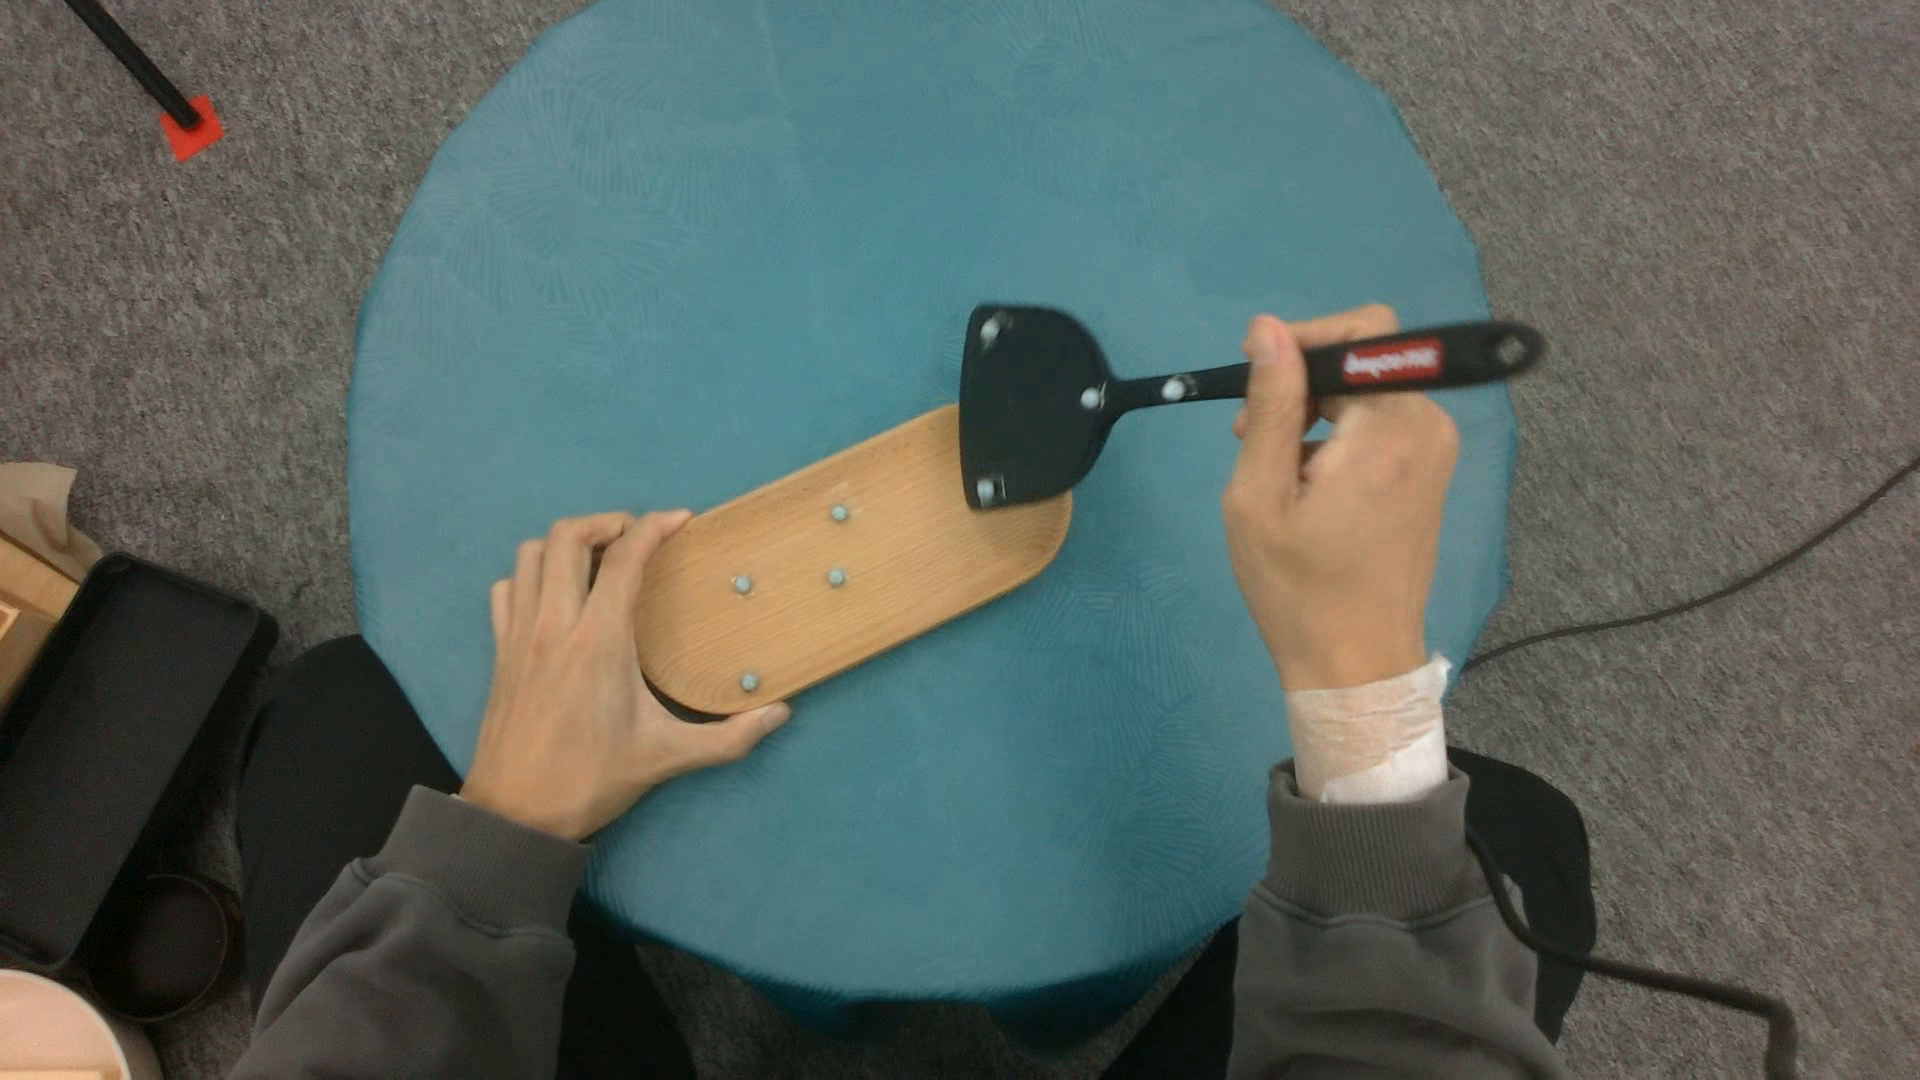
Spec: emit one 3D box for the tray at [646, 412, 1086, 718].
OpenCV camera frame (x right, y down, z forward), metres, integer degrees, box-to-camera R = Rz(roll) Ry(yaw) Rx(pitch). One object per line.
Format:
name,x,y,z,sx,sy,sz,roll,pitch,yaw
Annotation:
tray,-0.045,0.011,0.694,0.231,0.020,0.102,-25,75,-10

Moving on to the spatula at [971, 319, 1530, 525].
spatula,0.087,-0.055,0.541,0.040,0.325,0.099,-1,91,-23
